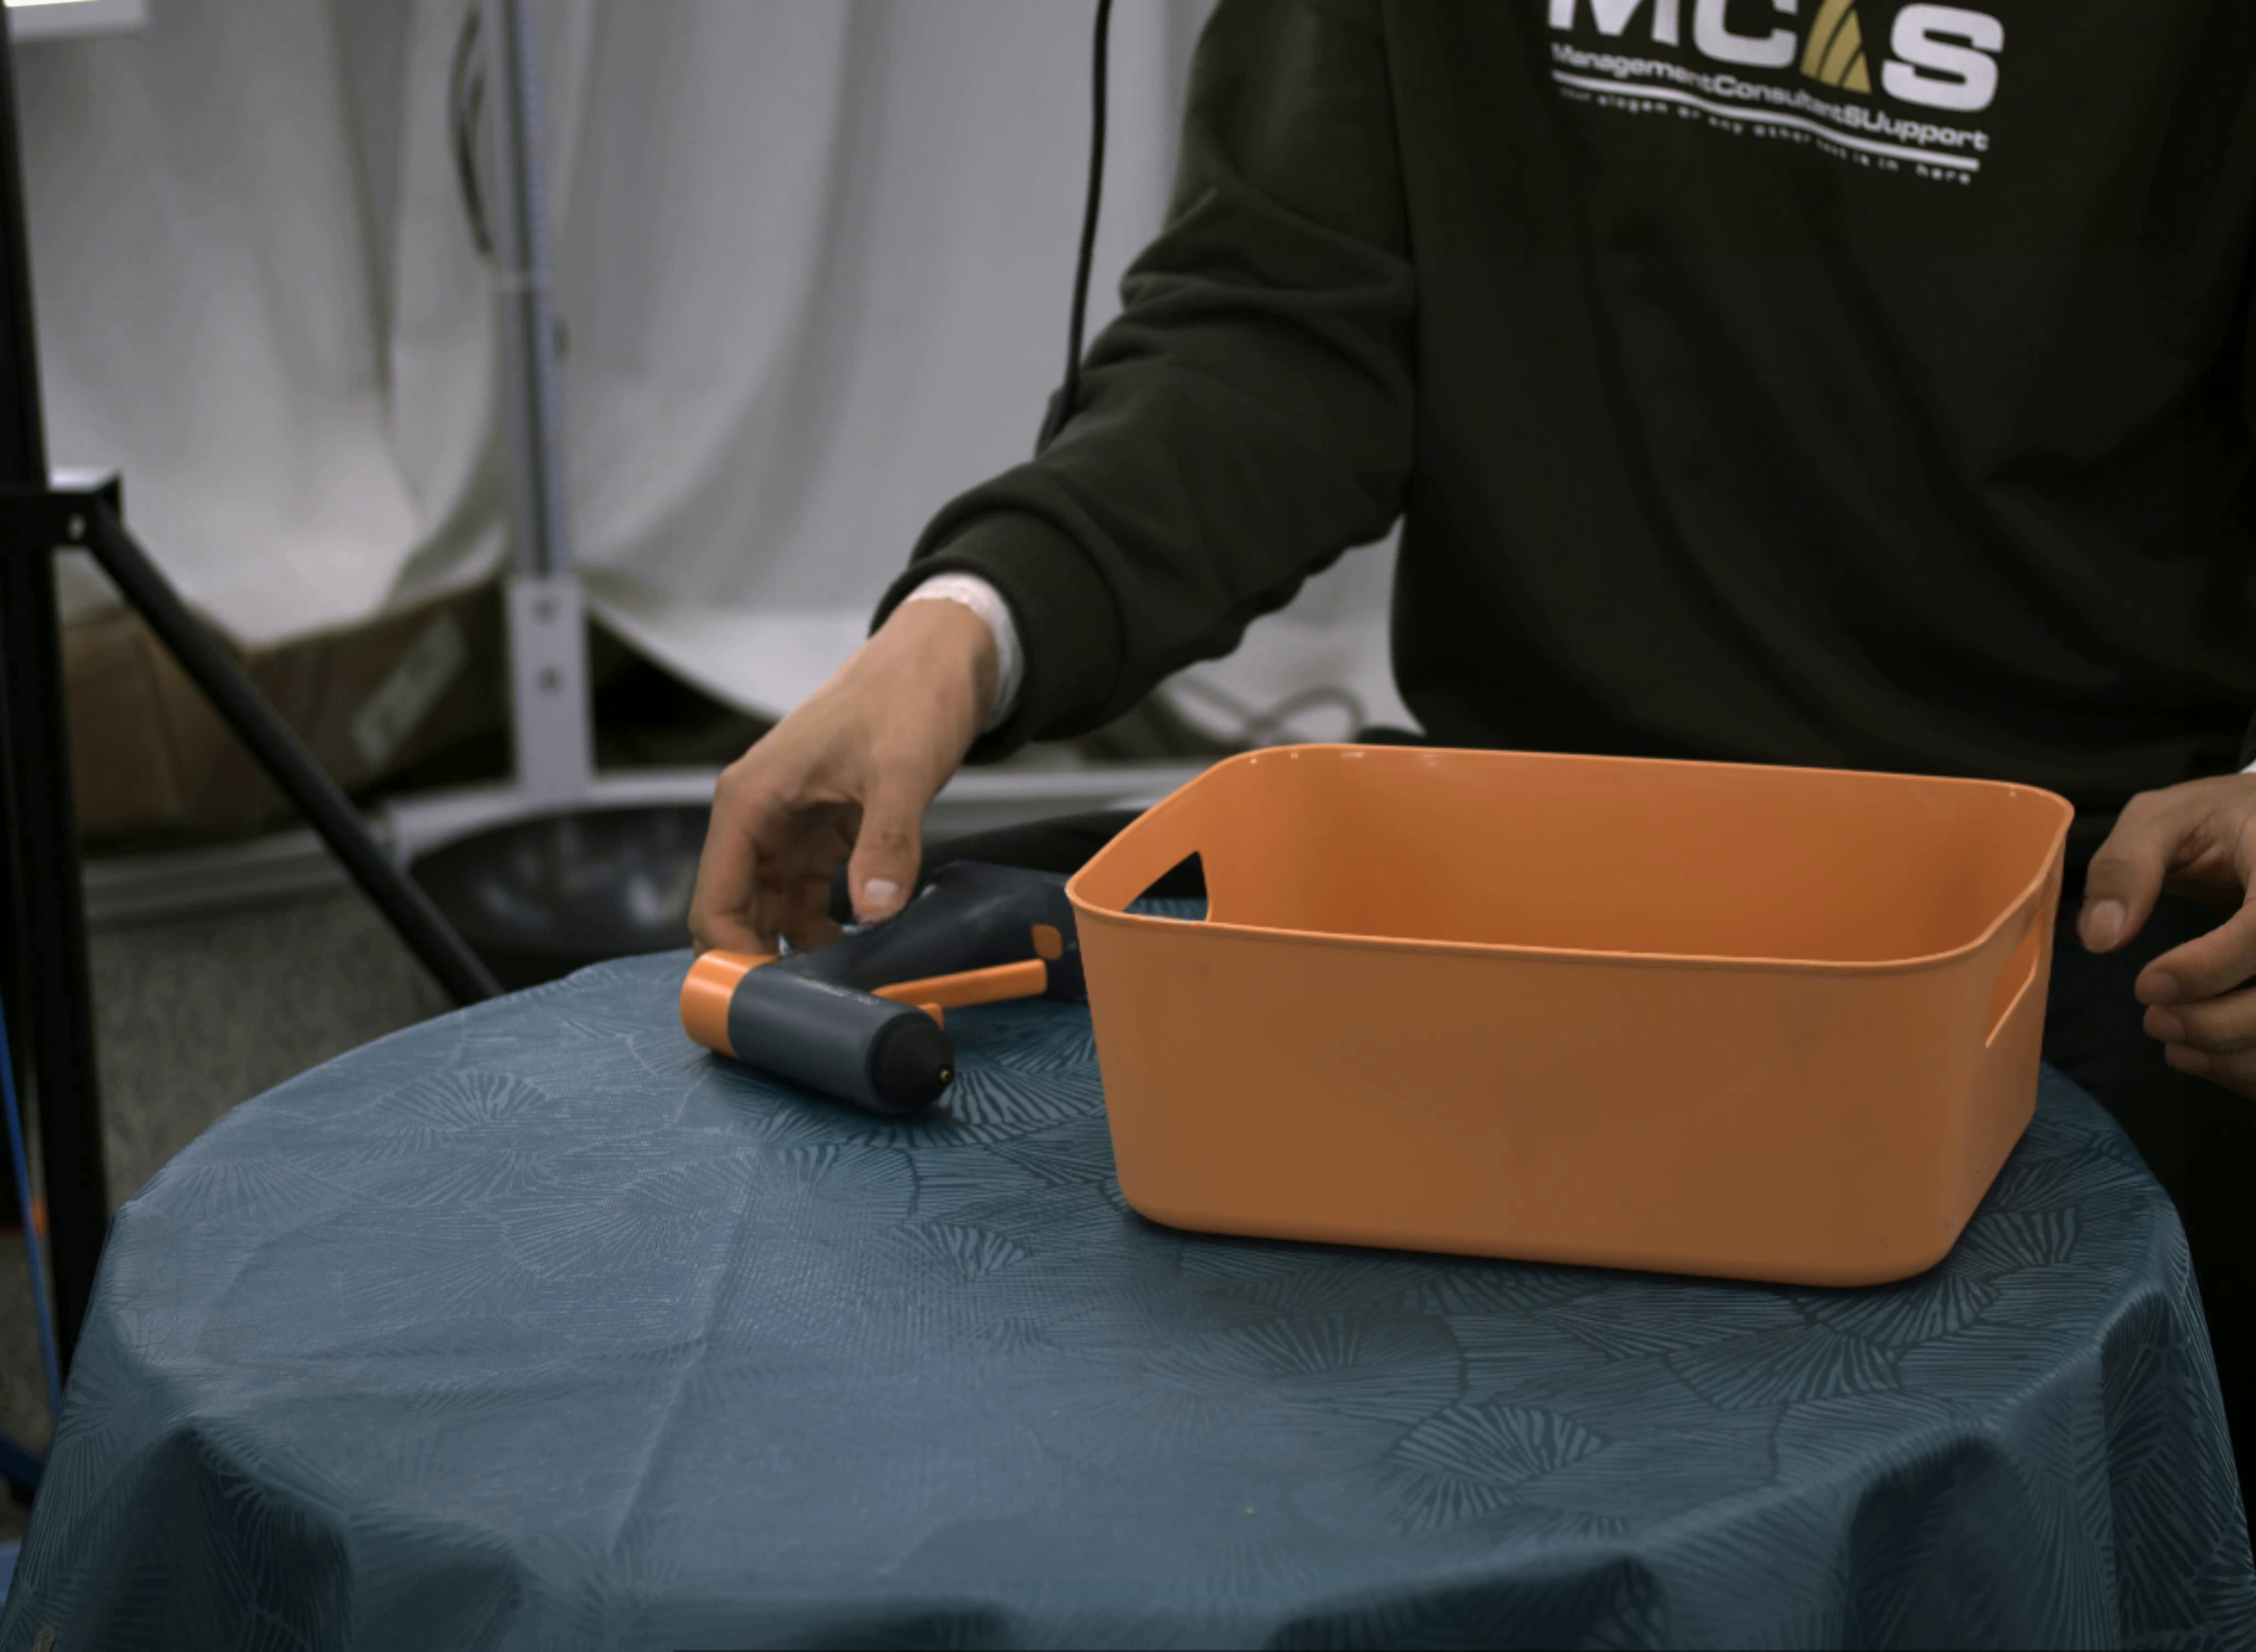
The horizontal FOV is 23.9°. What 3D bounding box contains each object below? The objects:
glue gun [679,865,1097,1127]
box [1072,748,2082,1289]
[{"bbox_3d":[-0.069,0.056,1.696,0.120,0.041,0.137,10,22,33],"label":"glue gun"},{"bbox_3d":[0.133,0.054,1.540,0.276,0.102,0.197,3,16,21],"label":"box"}]
